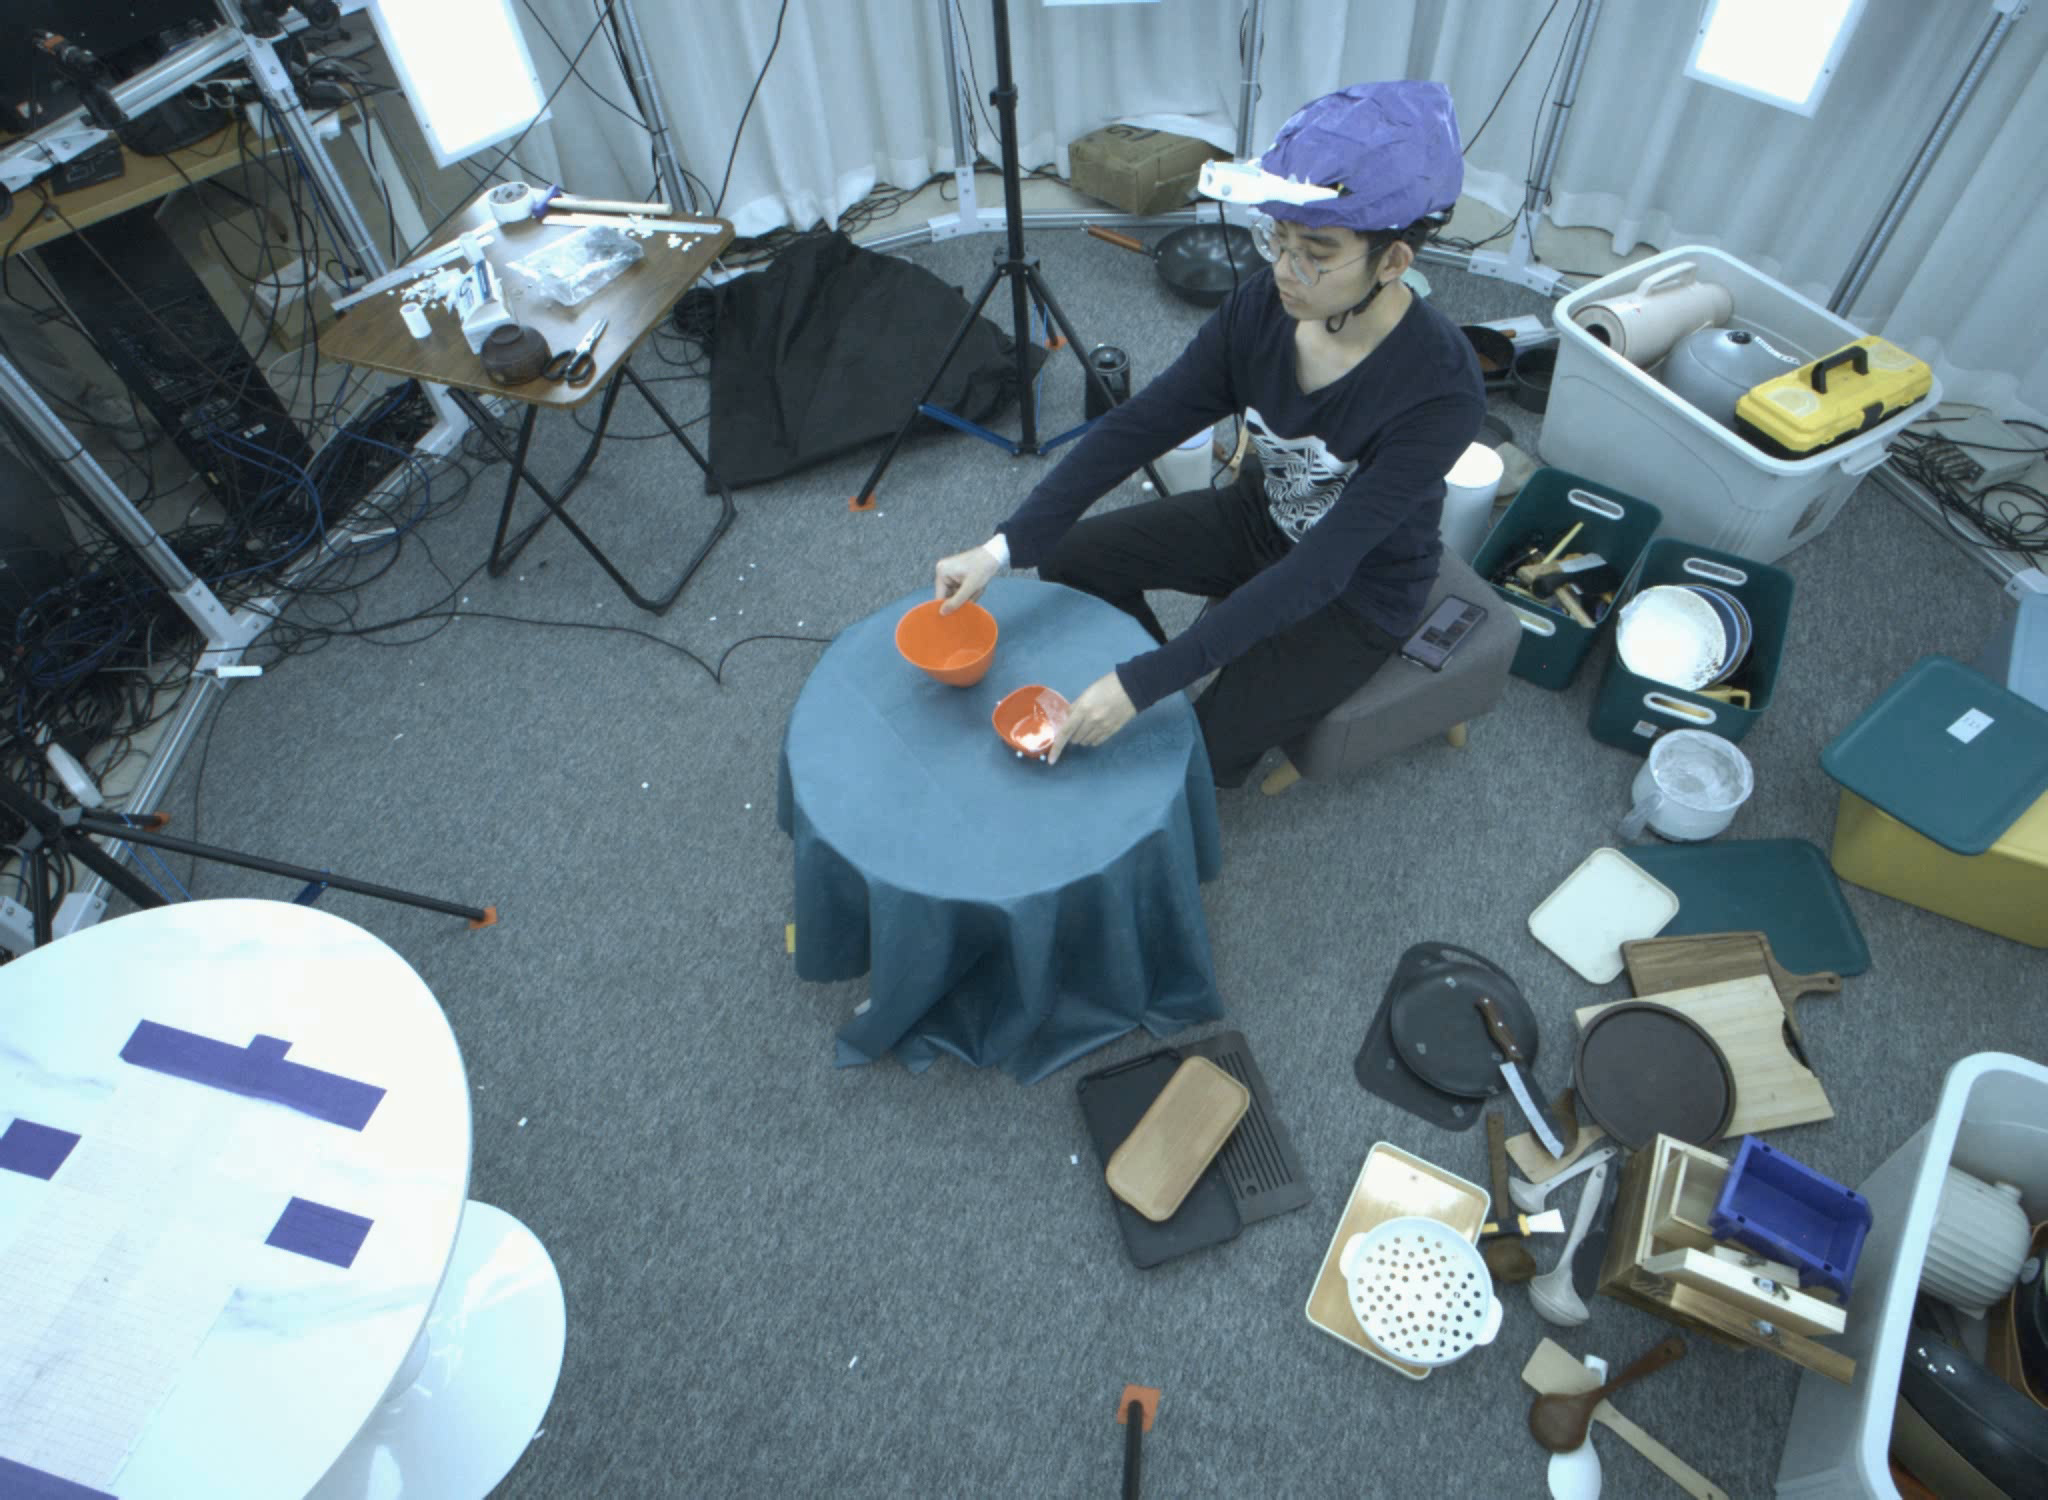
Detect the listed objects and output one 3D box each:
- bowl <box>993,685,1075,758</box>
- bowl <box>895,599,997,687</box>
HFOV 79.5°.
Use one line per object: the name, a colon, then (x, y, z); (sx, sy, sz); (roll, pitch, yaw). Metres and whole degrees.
bowl: (0.016, -0.034, 1.788); (0.119, 0.052, 0.117); (-1, 53, 2)
bowl: (-0.109, -0.148, 1.827); (0.147, 0.106, 0.146); (-4, 53, 6)
